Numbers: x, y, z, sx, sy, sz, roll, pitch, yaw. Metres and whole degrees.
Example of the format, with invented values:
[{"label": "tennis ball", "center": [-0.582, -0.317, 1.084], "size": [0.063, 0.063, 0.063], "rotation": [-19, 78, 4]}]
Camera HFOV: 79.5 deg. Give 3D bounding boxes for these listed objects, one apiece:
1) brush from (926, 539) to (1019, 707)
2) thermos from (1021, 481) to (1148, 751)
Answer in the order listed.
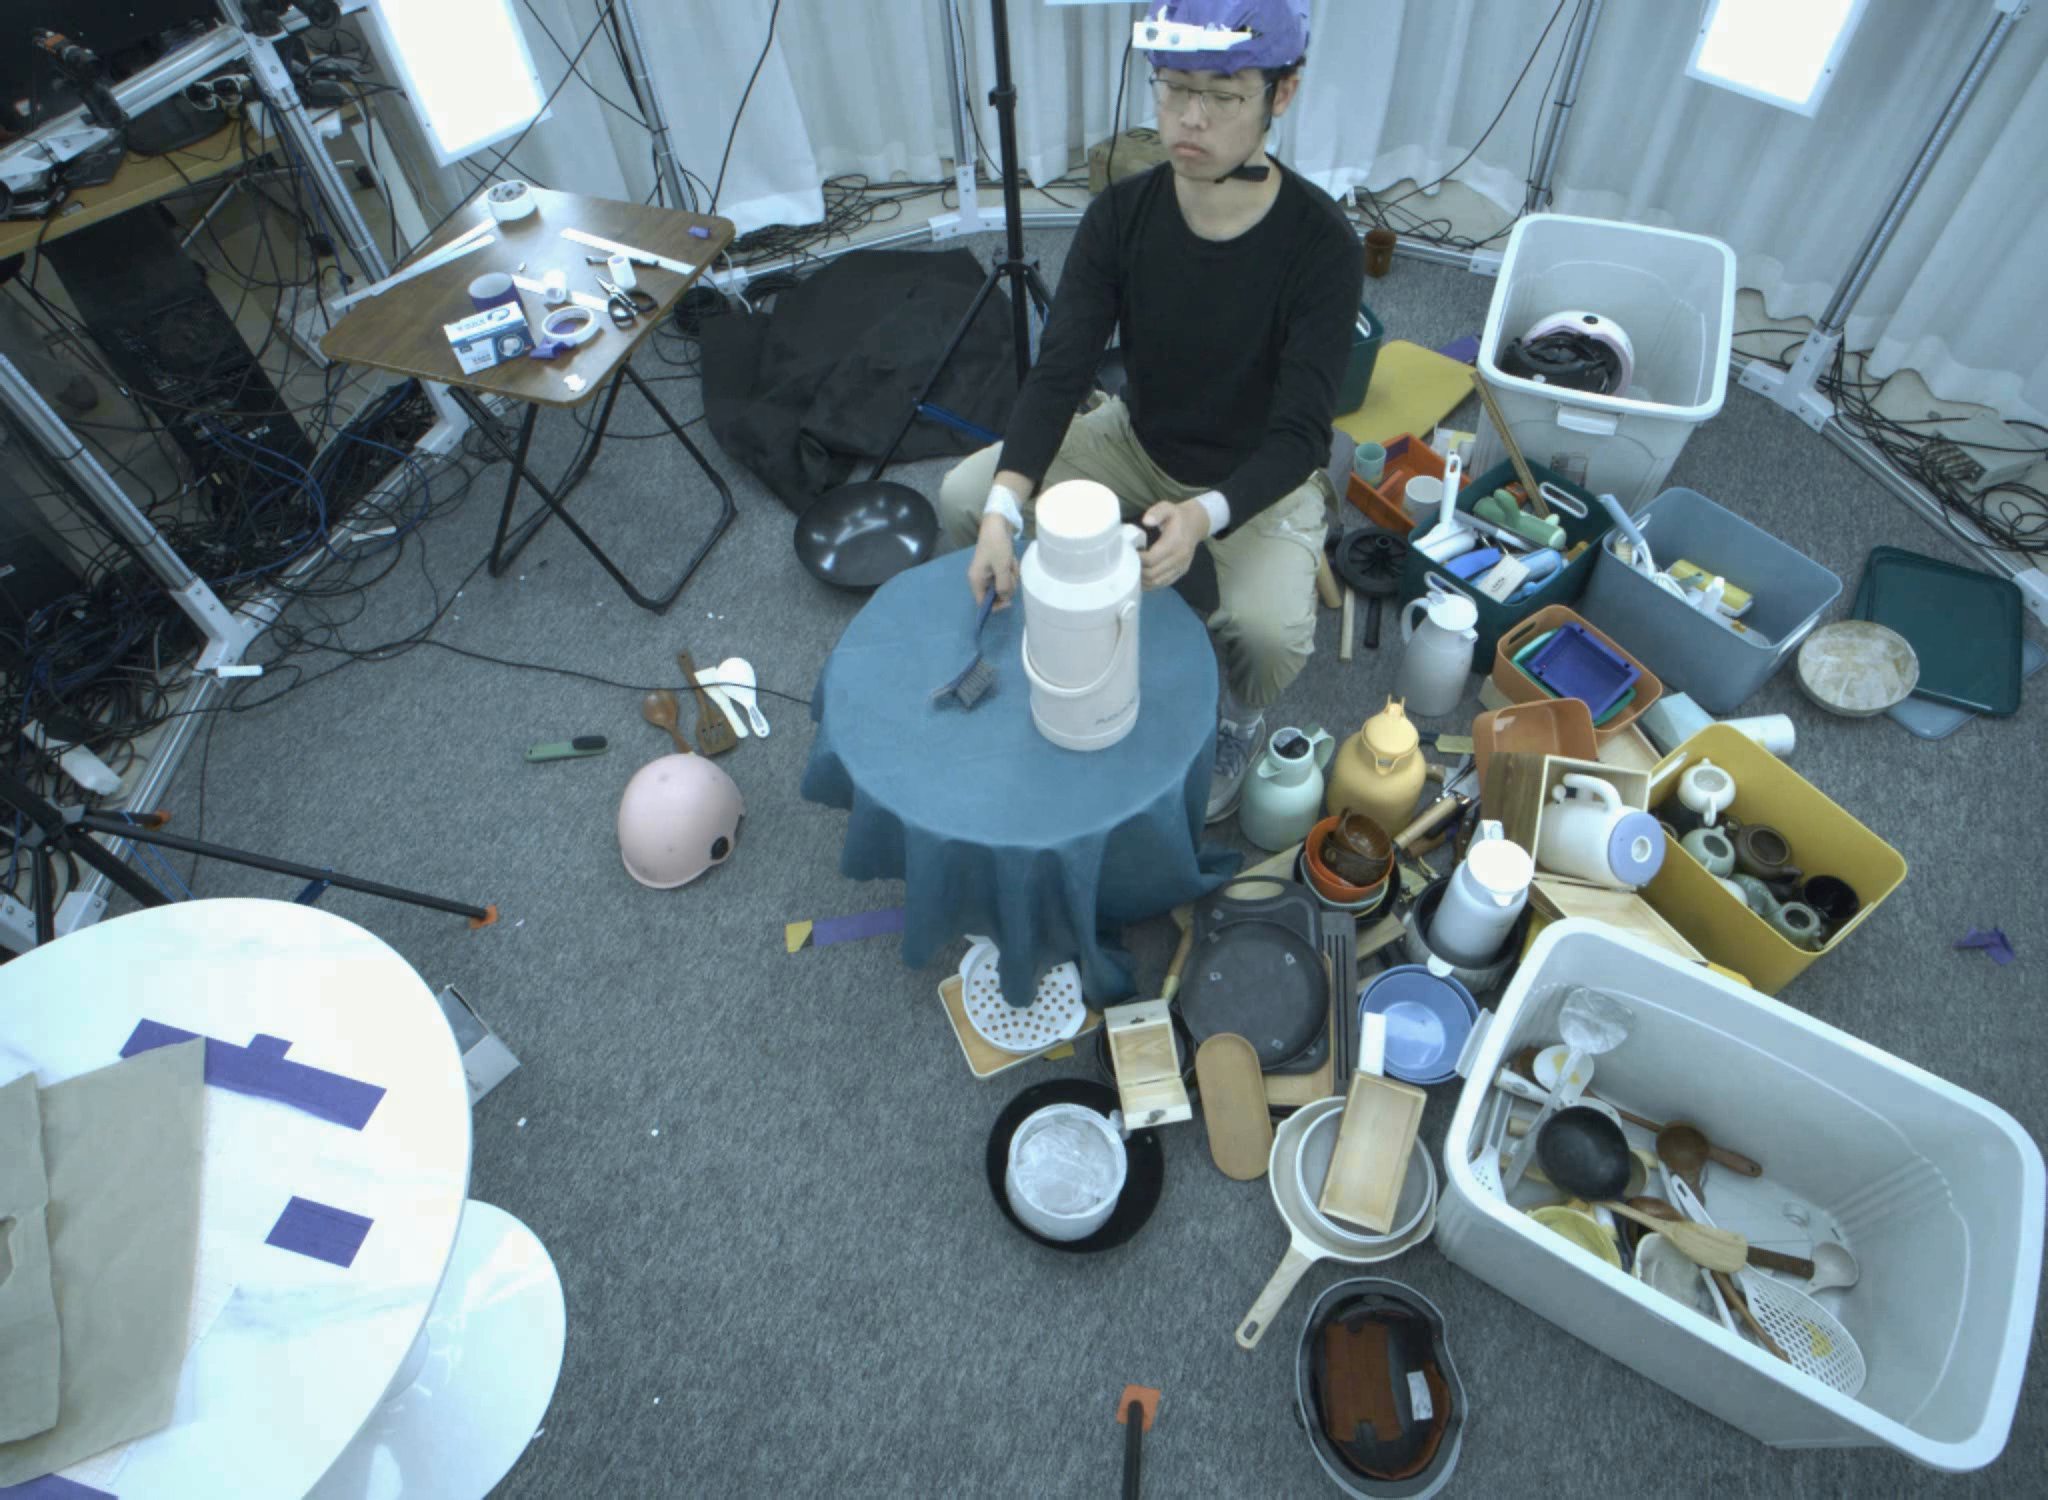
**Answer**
[{"label": "brush", "center": [-0.072, -0.197, 1.860], "size": [0.095, 0.034, 0.272], "rotation": [12, 76, 7]}, {"label": "thermos", "center": [0.091, -0.186, 1.671], "size": [0.172, 0.411, 0.208], "rotation": [36, 65, 27]}]
